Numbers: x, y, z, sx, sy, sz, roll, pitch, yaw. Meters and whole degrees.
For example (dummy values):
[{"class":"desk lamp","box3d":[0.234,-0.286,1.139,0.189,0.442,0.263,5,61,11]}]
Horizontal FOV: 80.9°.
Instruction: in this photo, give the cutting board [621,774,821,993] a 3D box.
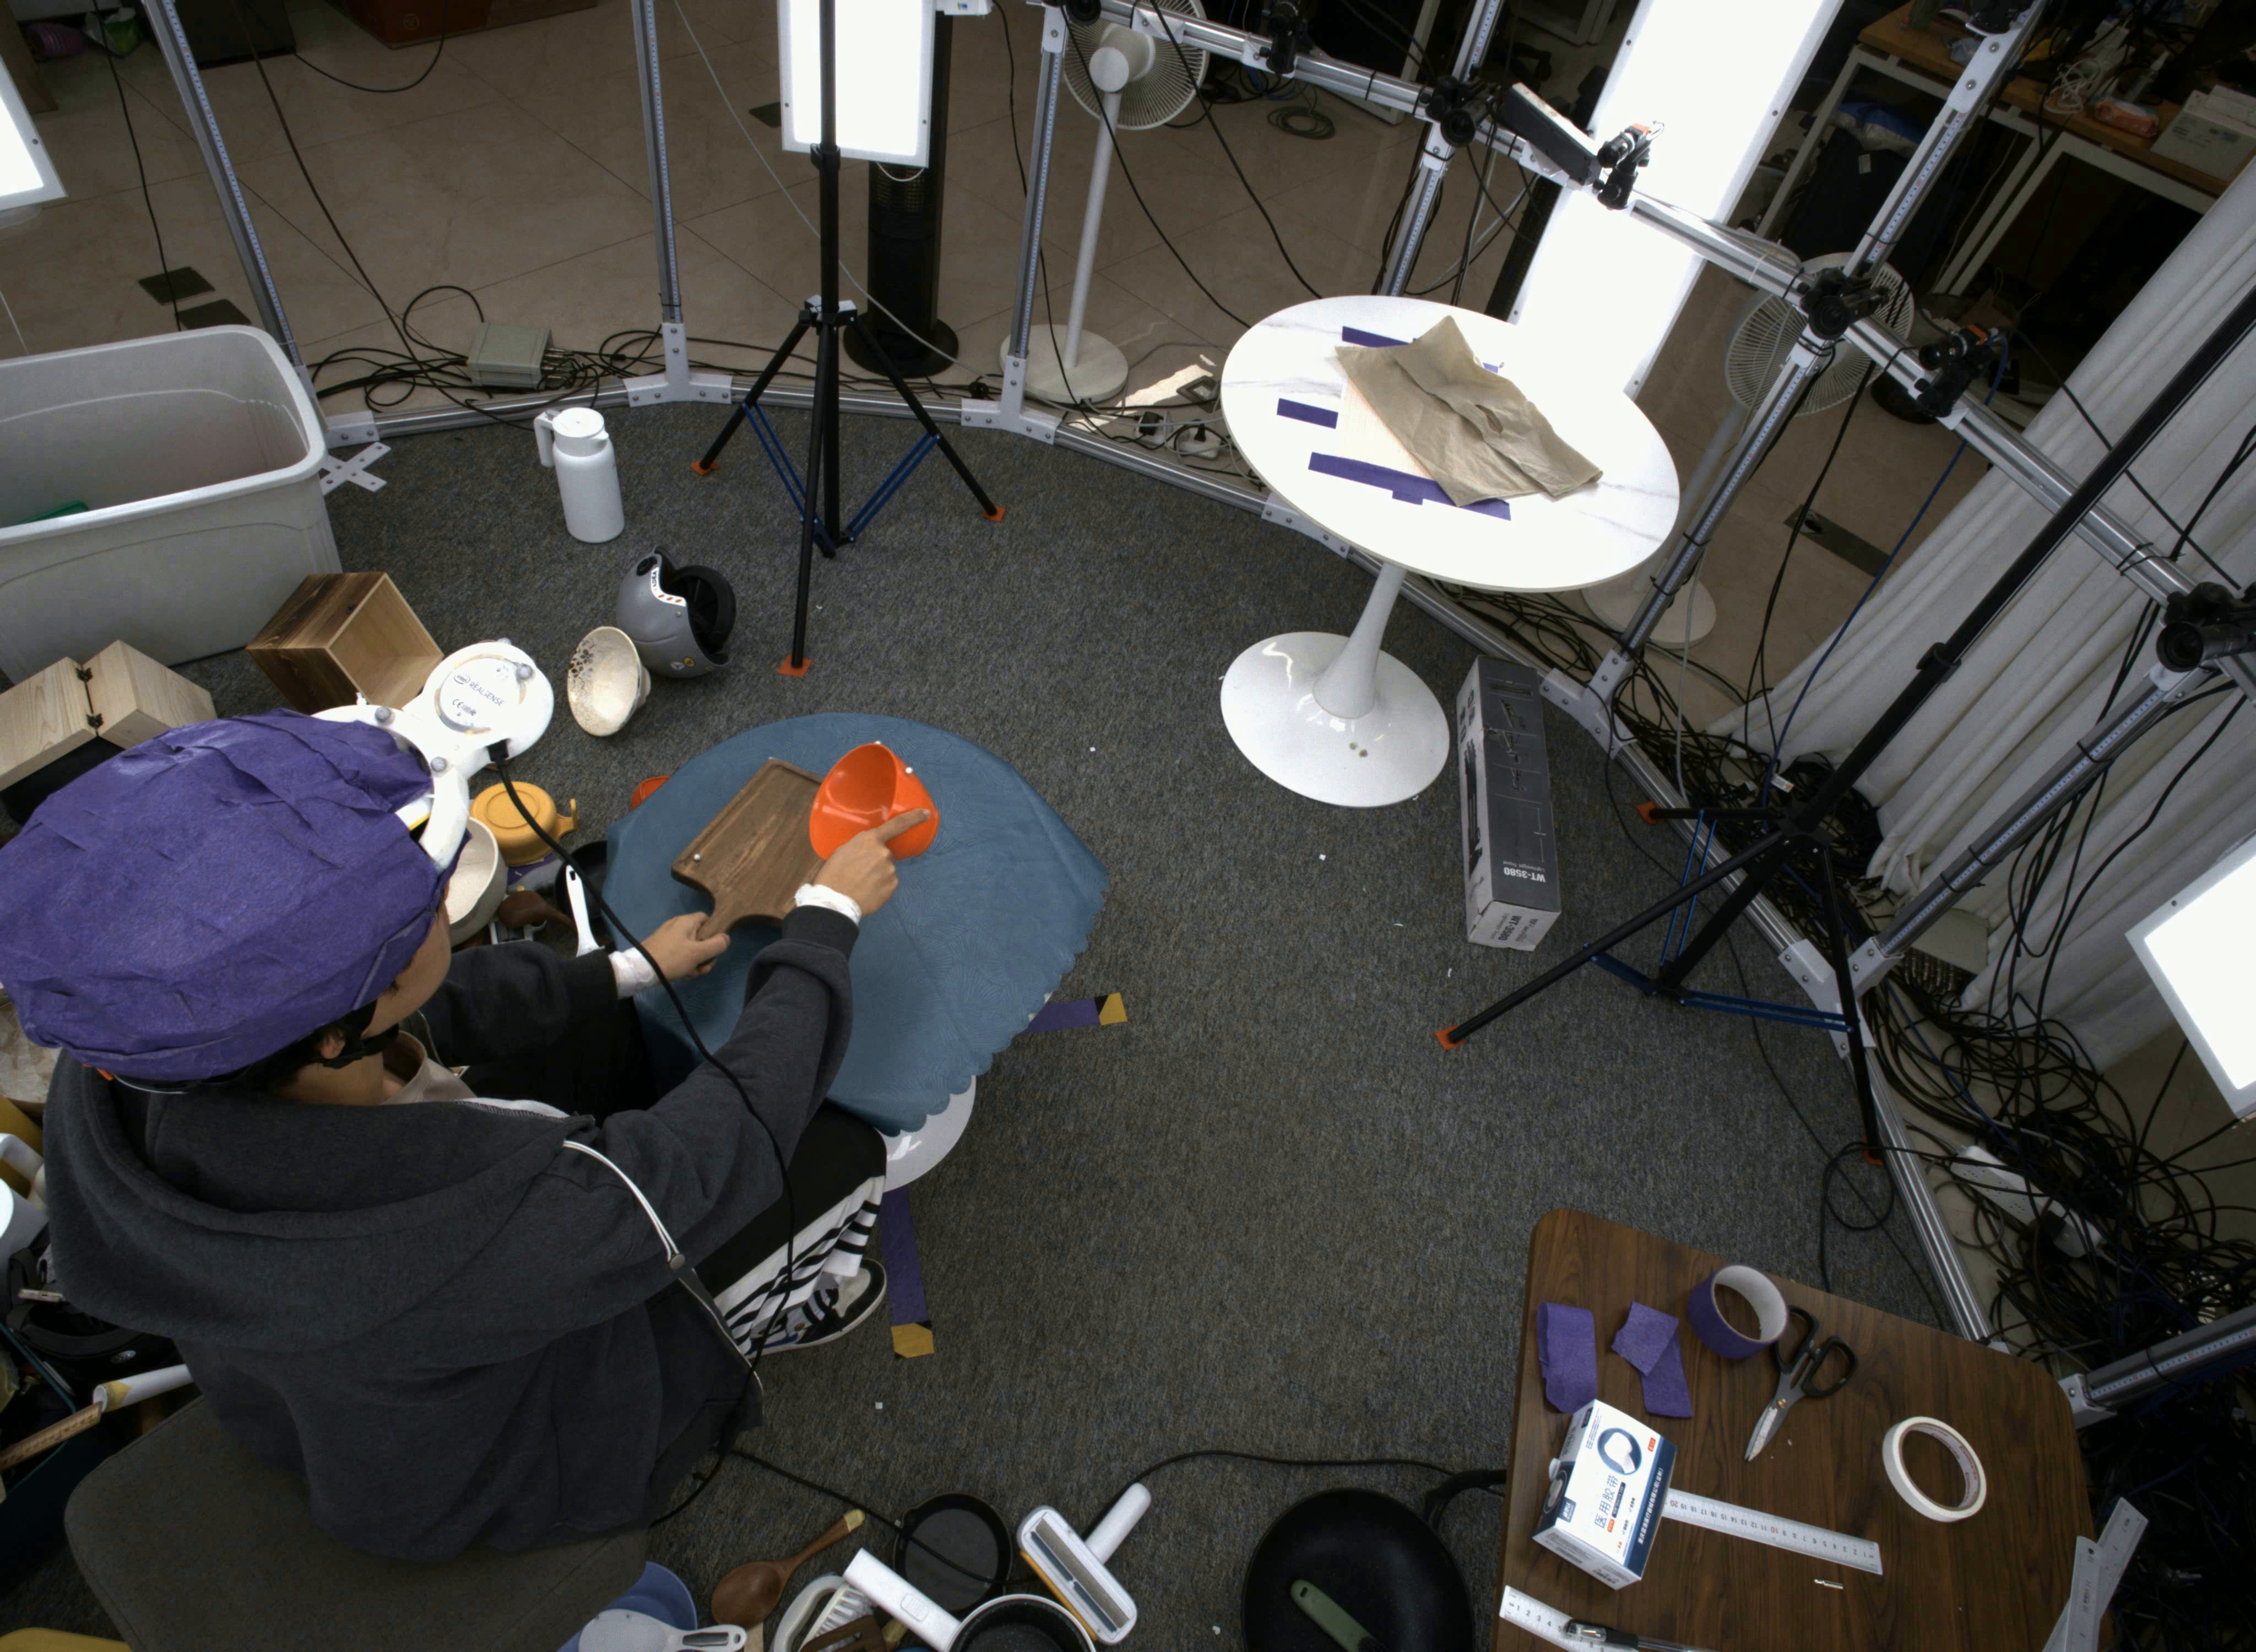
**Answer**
[{"class":"cutting board","box3d":[-0.506,0.072,1.598,0.199,0.023,0.348,22,42,0]}]

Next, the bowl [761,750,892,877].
[{"class":"bowl","box3d":[-0.337,-0.002,1.484,0.108,0.147,0.145,25,41,-38]}]
